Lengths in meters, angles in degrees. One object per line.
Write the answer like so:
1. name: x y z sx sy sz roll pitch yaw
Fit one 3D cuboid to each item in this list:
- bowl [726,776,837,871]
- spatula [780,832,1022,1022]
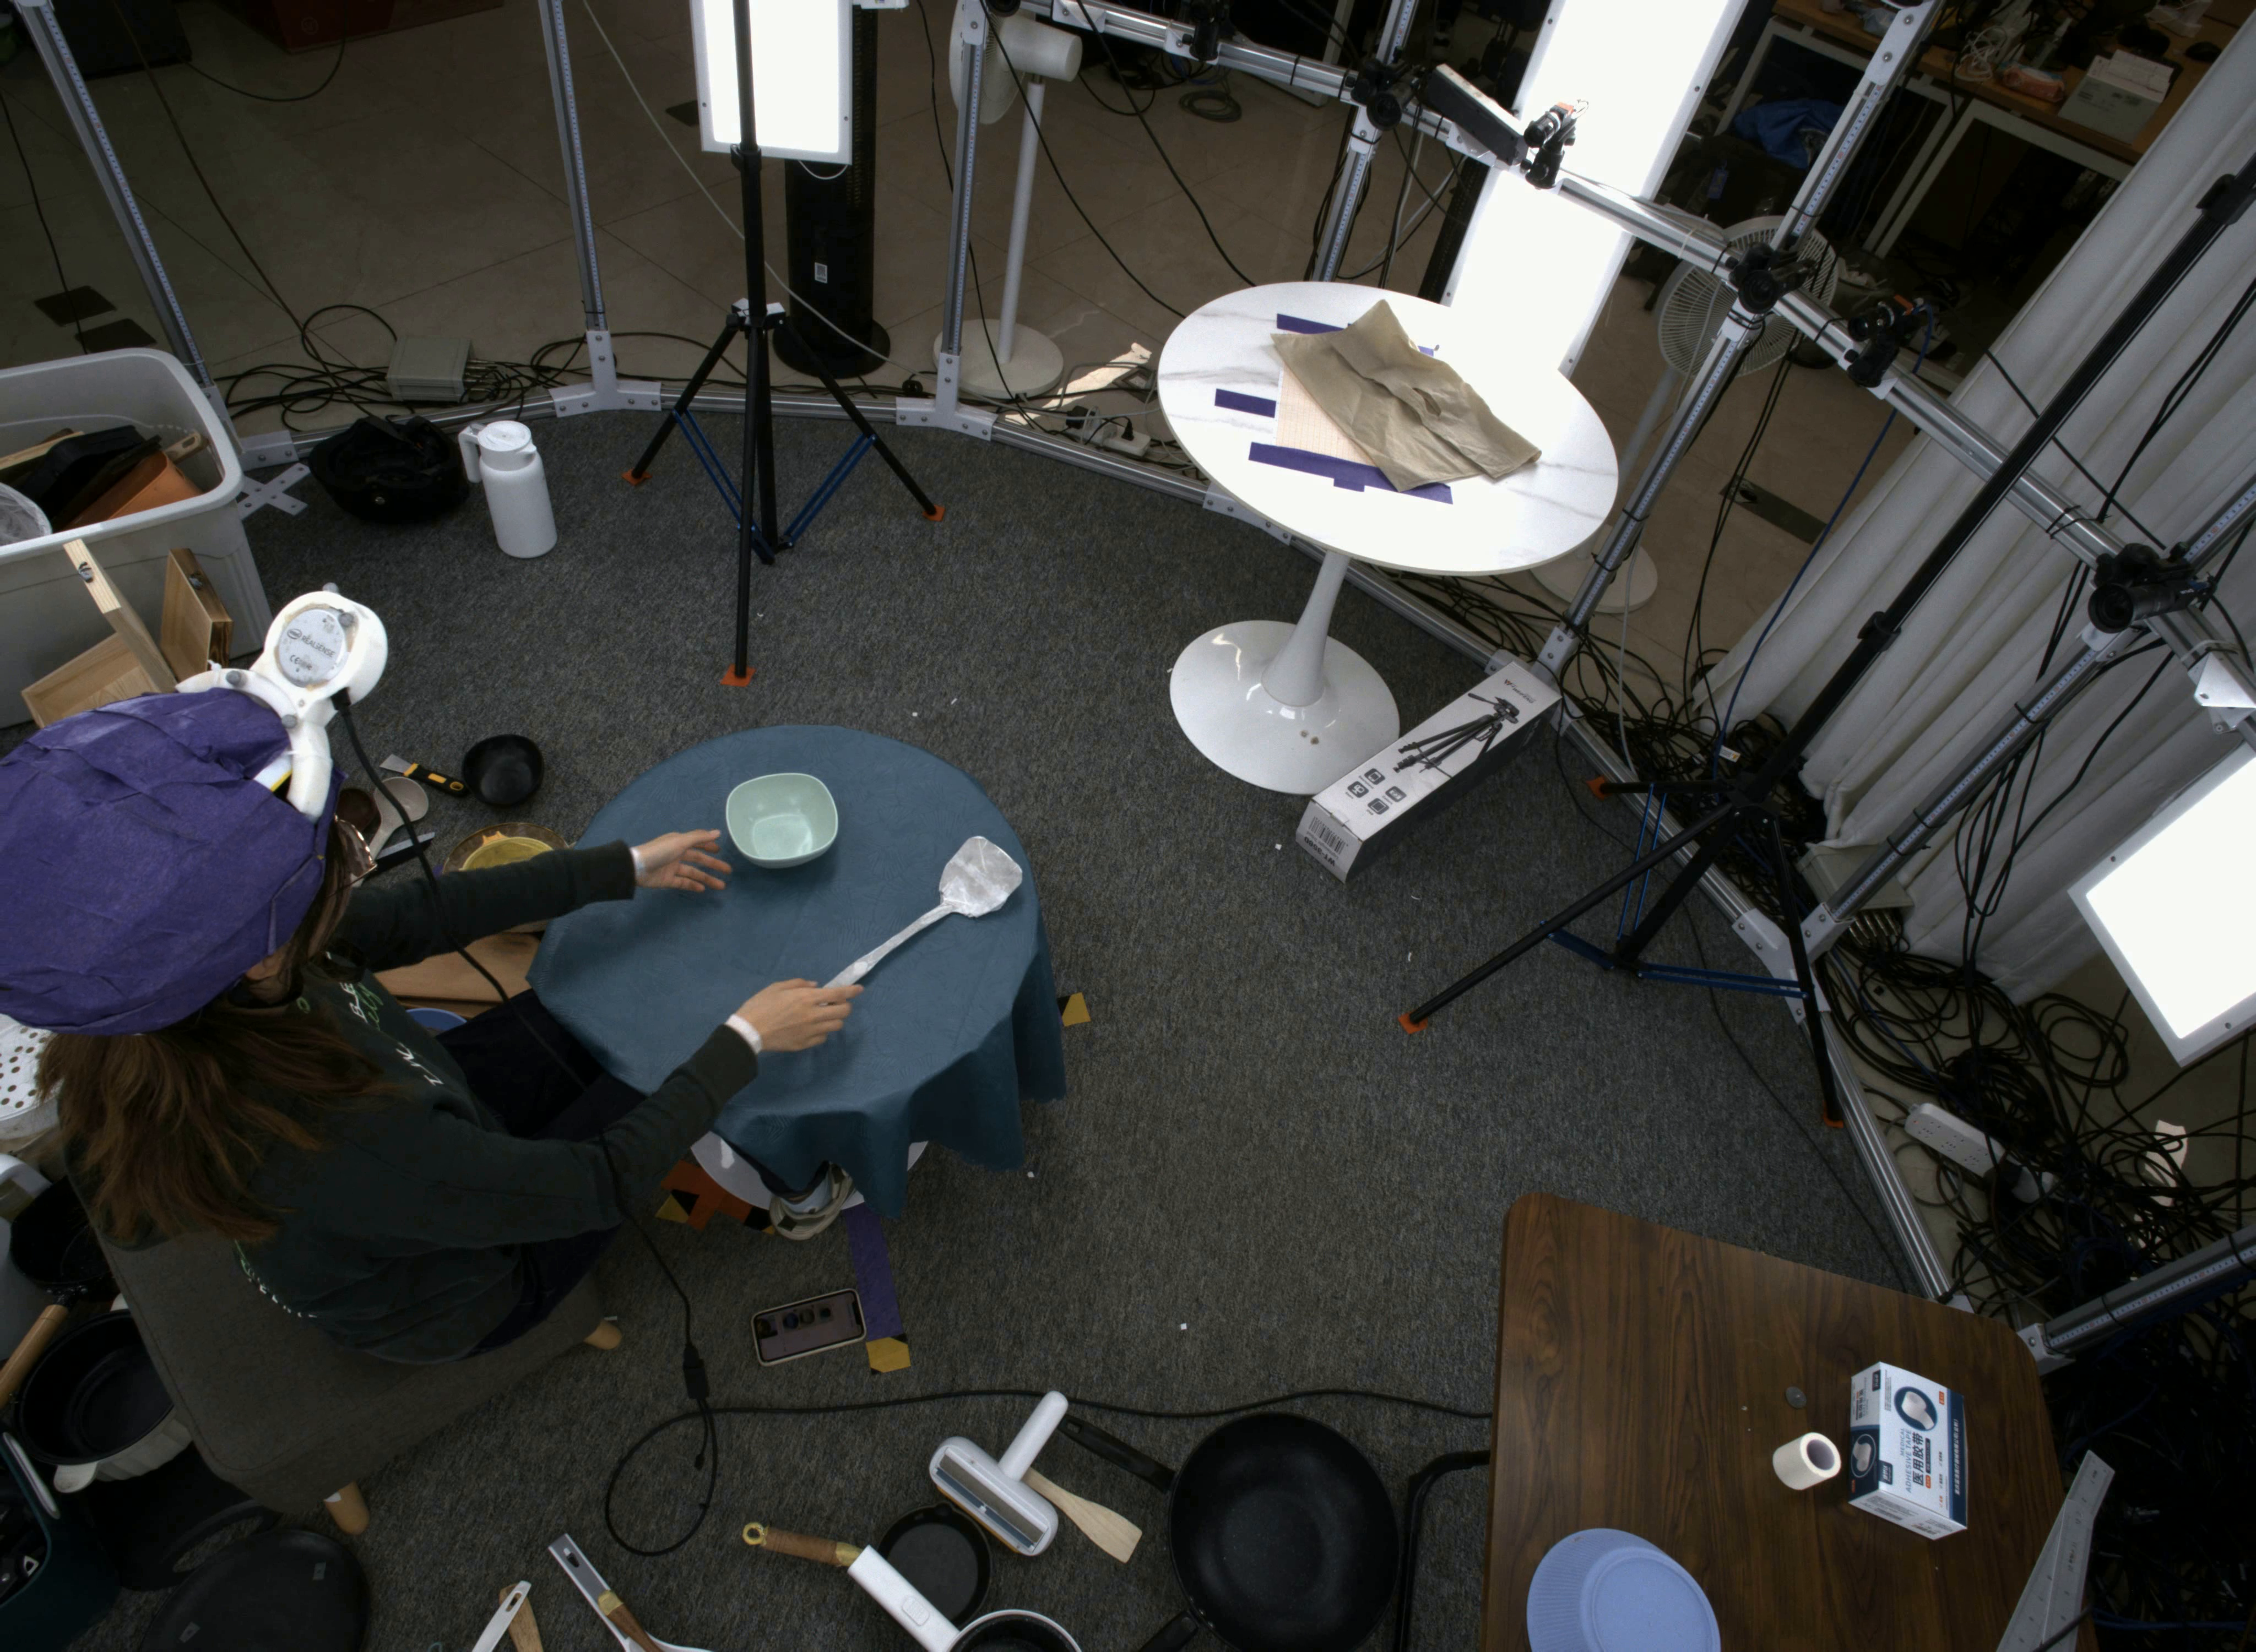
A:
1. bowl: -0.450 0.005 1.684 0.151 0.060 0.148 9 50 -9
2. spatula: -0.287 0.133 1.640 0.097 0.045 0.365 42 55 16
